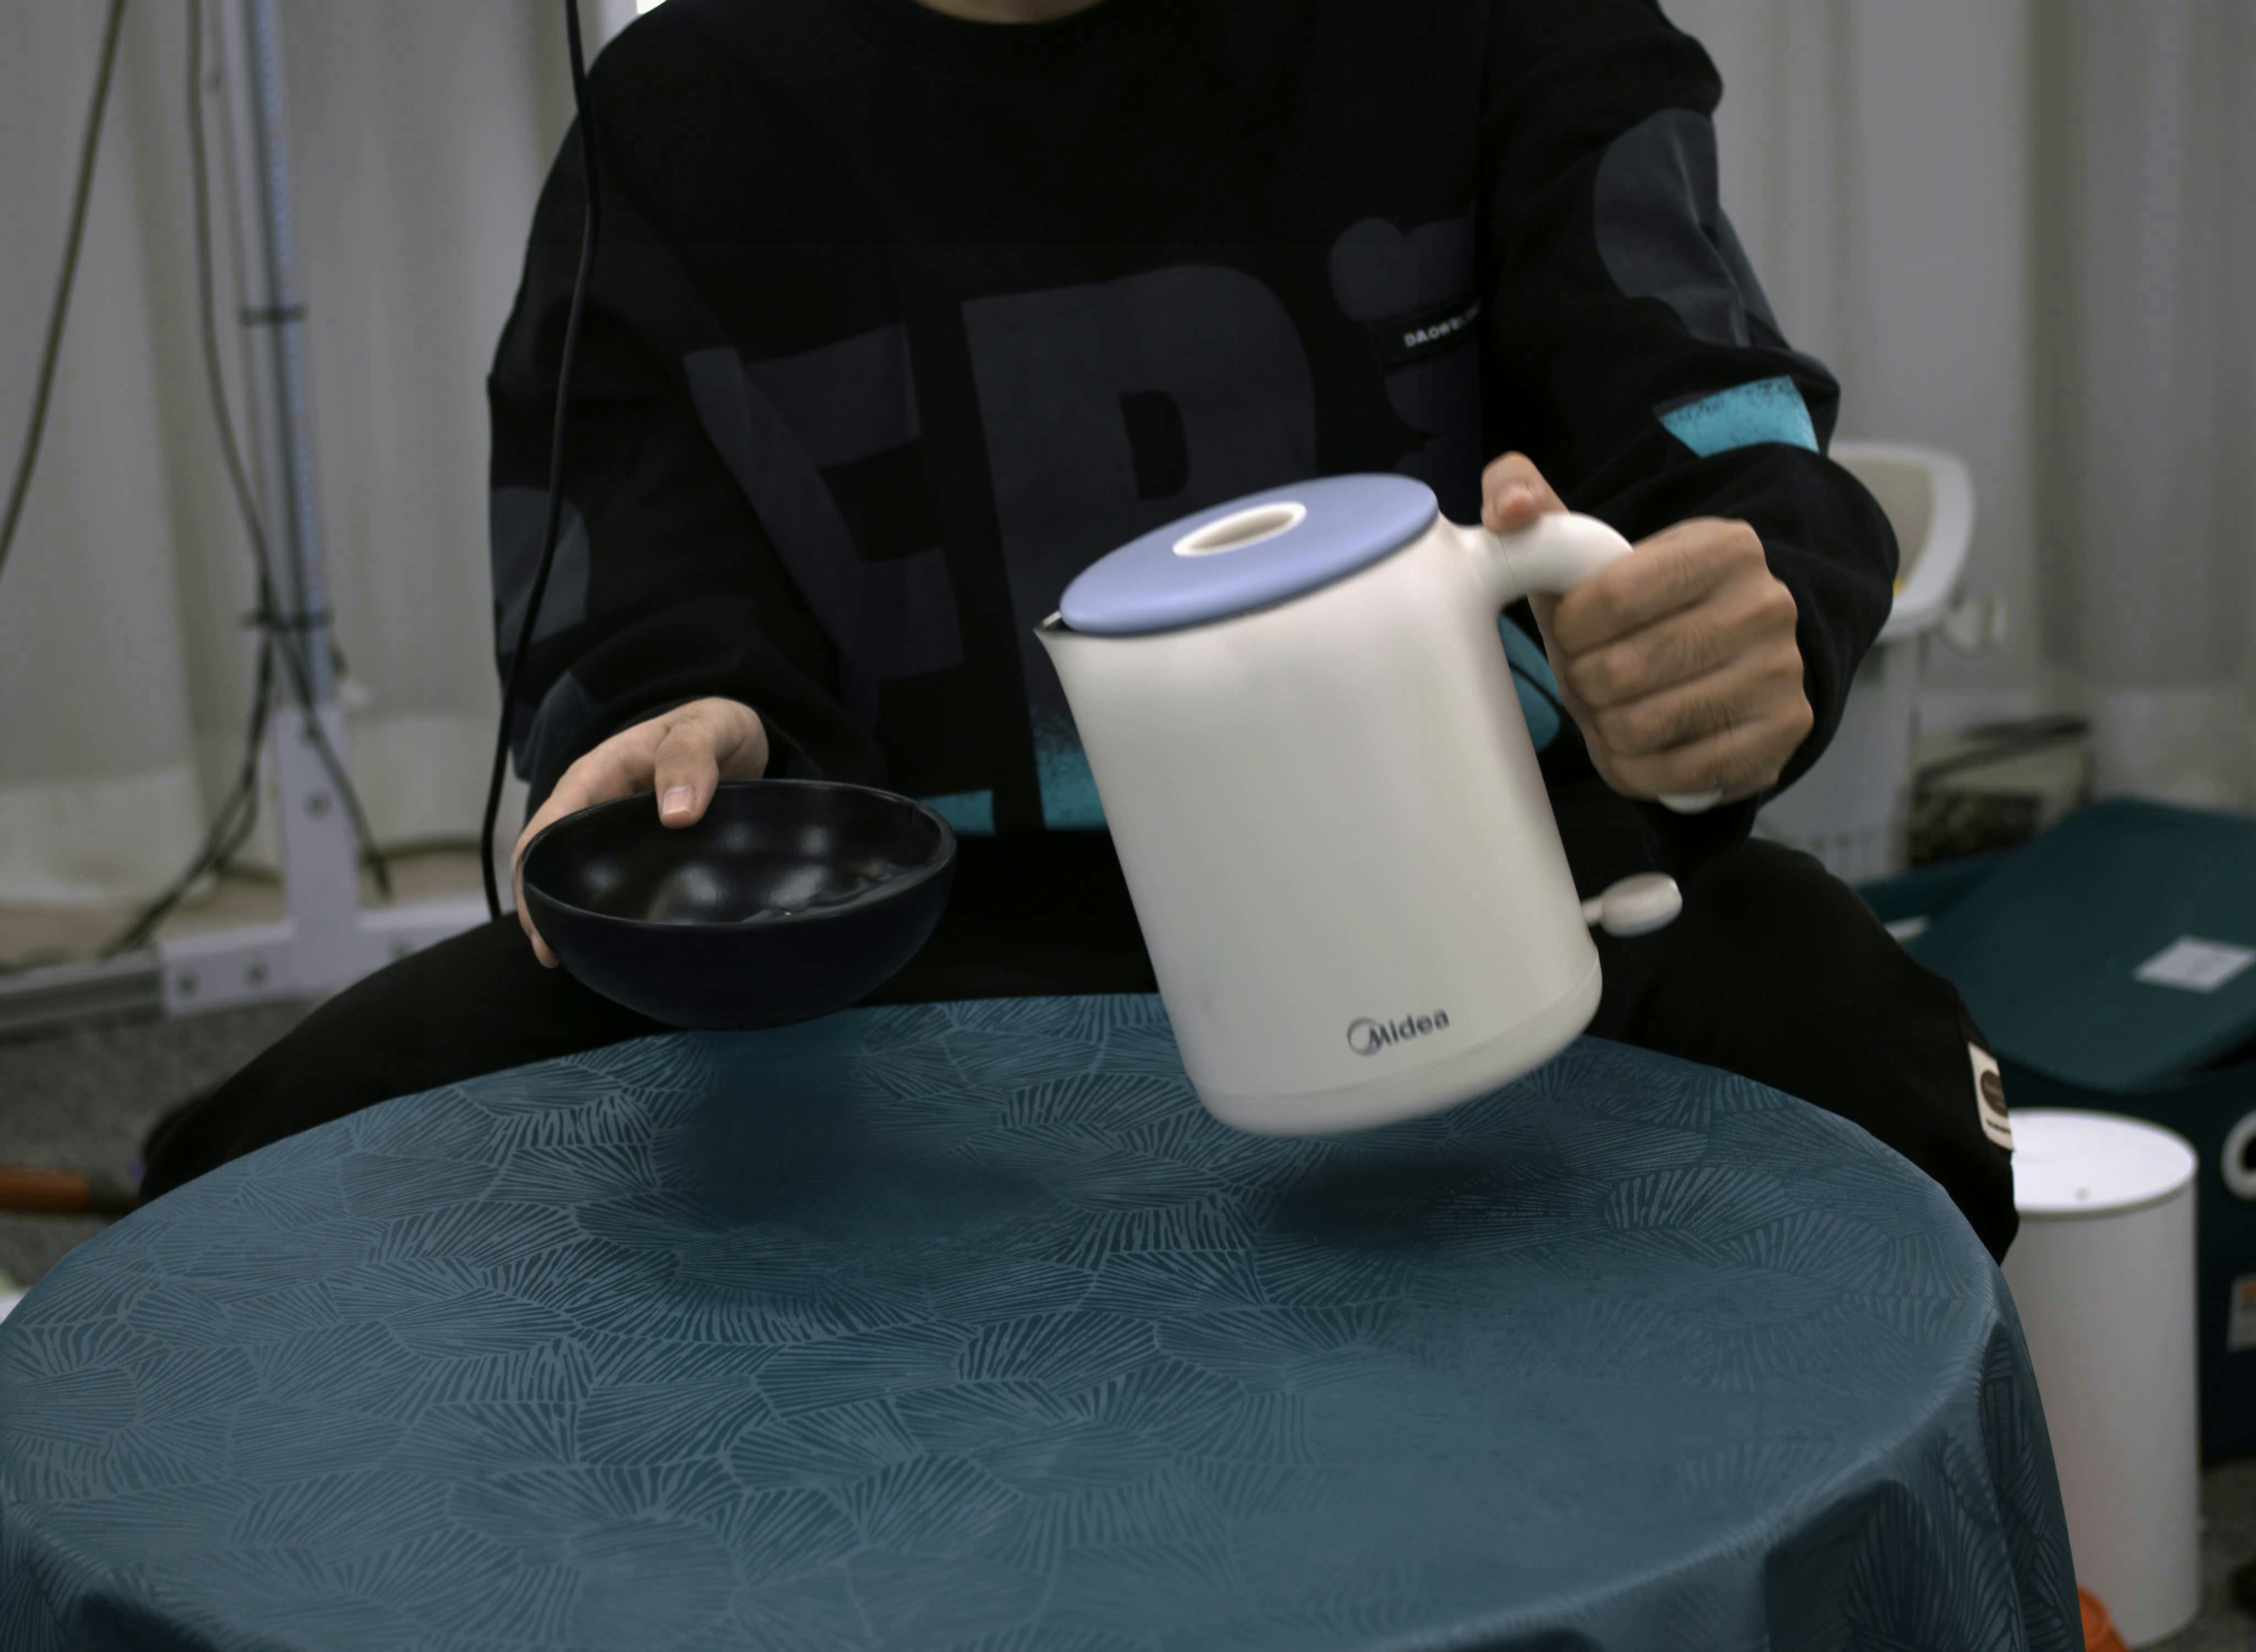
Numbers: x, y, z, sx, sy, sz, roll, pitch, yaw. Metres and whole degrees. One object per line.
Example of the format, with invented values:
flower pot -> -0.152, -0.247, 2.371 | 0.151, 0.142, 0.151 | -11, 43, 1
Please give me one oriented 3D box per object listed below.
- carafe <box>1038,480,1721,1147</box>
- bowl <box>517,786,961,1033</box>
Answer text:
carafe -> 0.084, -0.011, 1.664 | 0.190, 0.181, 0.133 | -15, 15, -1
bowl -> -0.121, 0.031, 1.719 | 0.139, 0.049, 0.141 | -2, 17, 0
